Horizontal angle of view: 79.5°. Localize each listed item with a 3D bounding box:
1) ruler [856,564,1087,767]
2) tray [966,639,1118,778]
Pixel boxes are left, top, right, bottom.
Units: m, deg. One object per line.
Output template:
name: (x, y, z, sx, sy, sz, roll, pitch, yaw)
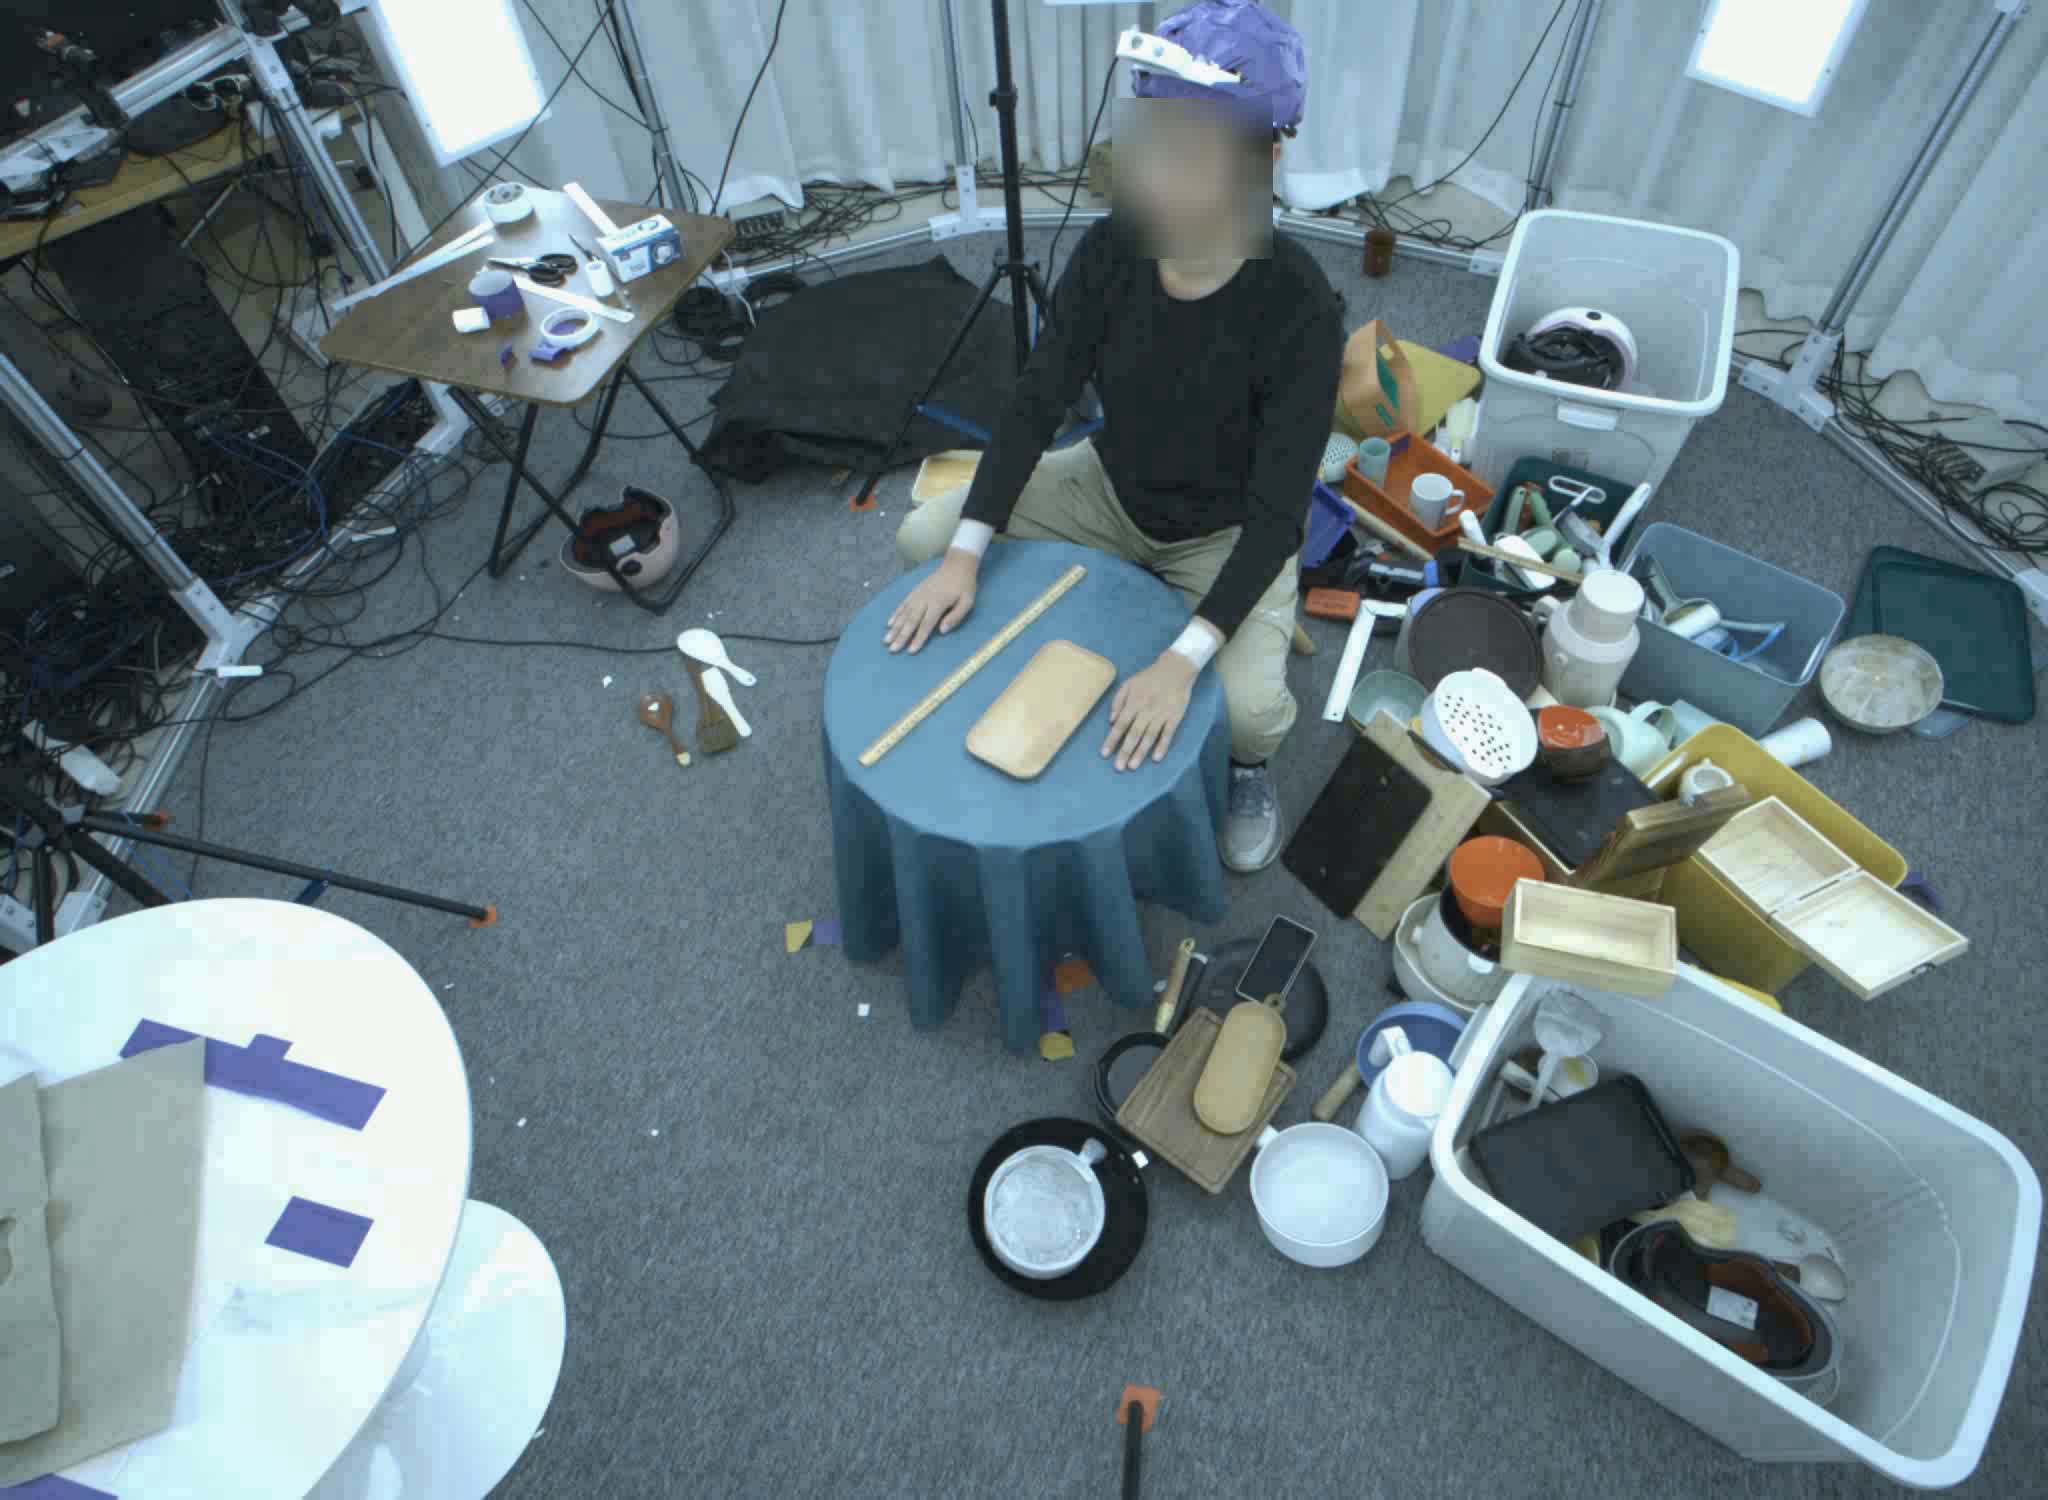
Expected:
ruler: (-0.071, -0.138, 1.885, 0.026, 0.006, 0.503, 36, 63, 22)
tray: (0.028, -0.064, 1.822, 0.129, 0.023, 0.252, 30, 60, 19)
